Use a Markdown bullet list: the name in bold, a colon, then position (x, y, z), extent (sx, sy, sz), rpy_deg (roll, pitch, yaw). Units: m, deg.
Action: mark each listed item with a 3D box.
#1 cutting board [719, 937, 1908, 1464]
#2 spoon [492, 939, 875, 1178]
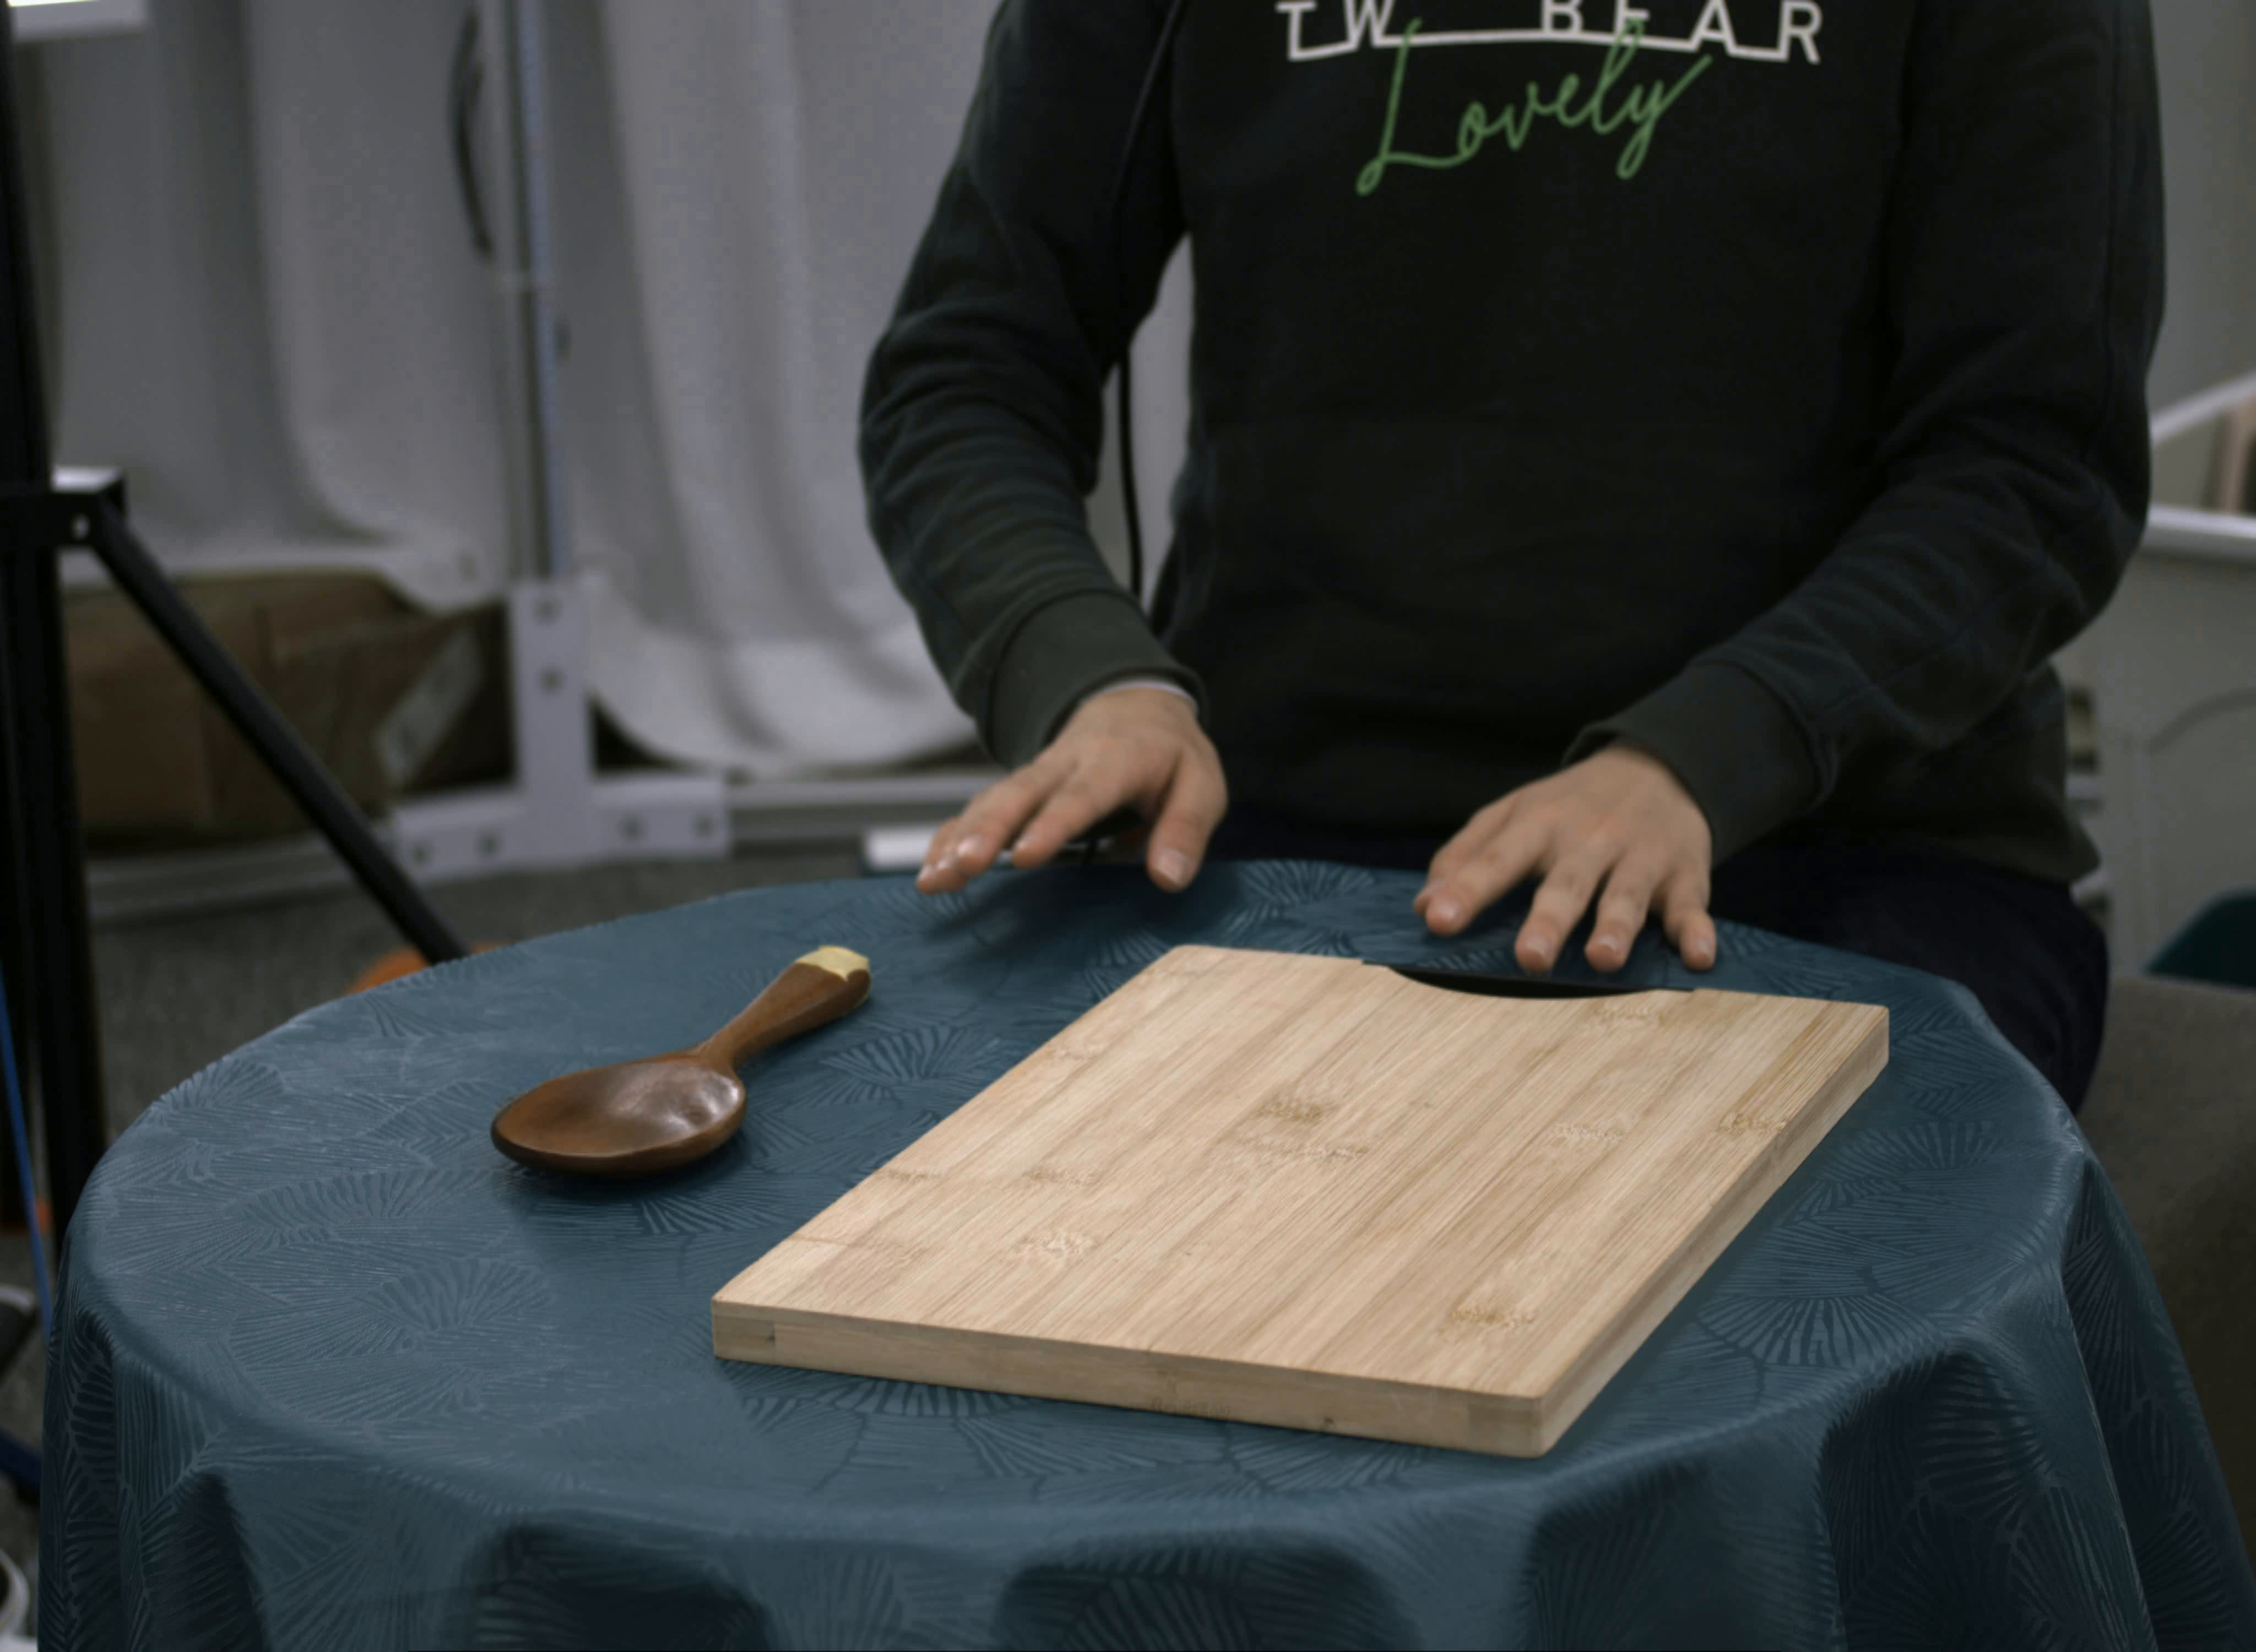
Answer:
- **cutting board**: position (0.065, 0.100, 1.546), extent (0.254, 0.023, 0.344), rpy_deg (5, 17, 22)
- **spoon**: position (-0.129, 0.074, 1.667), extent (0.076, 0.017, 0.213), rpy_deg (2, 17, 22)
